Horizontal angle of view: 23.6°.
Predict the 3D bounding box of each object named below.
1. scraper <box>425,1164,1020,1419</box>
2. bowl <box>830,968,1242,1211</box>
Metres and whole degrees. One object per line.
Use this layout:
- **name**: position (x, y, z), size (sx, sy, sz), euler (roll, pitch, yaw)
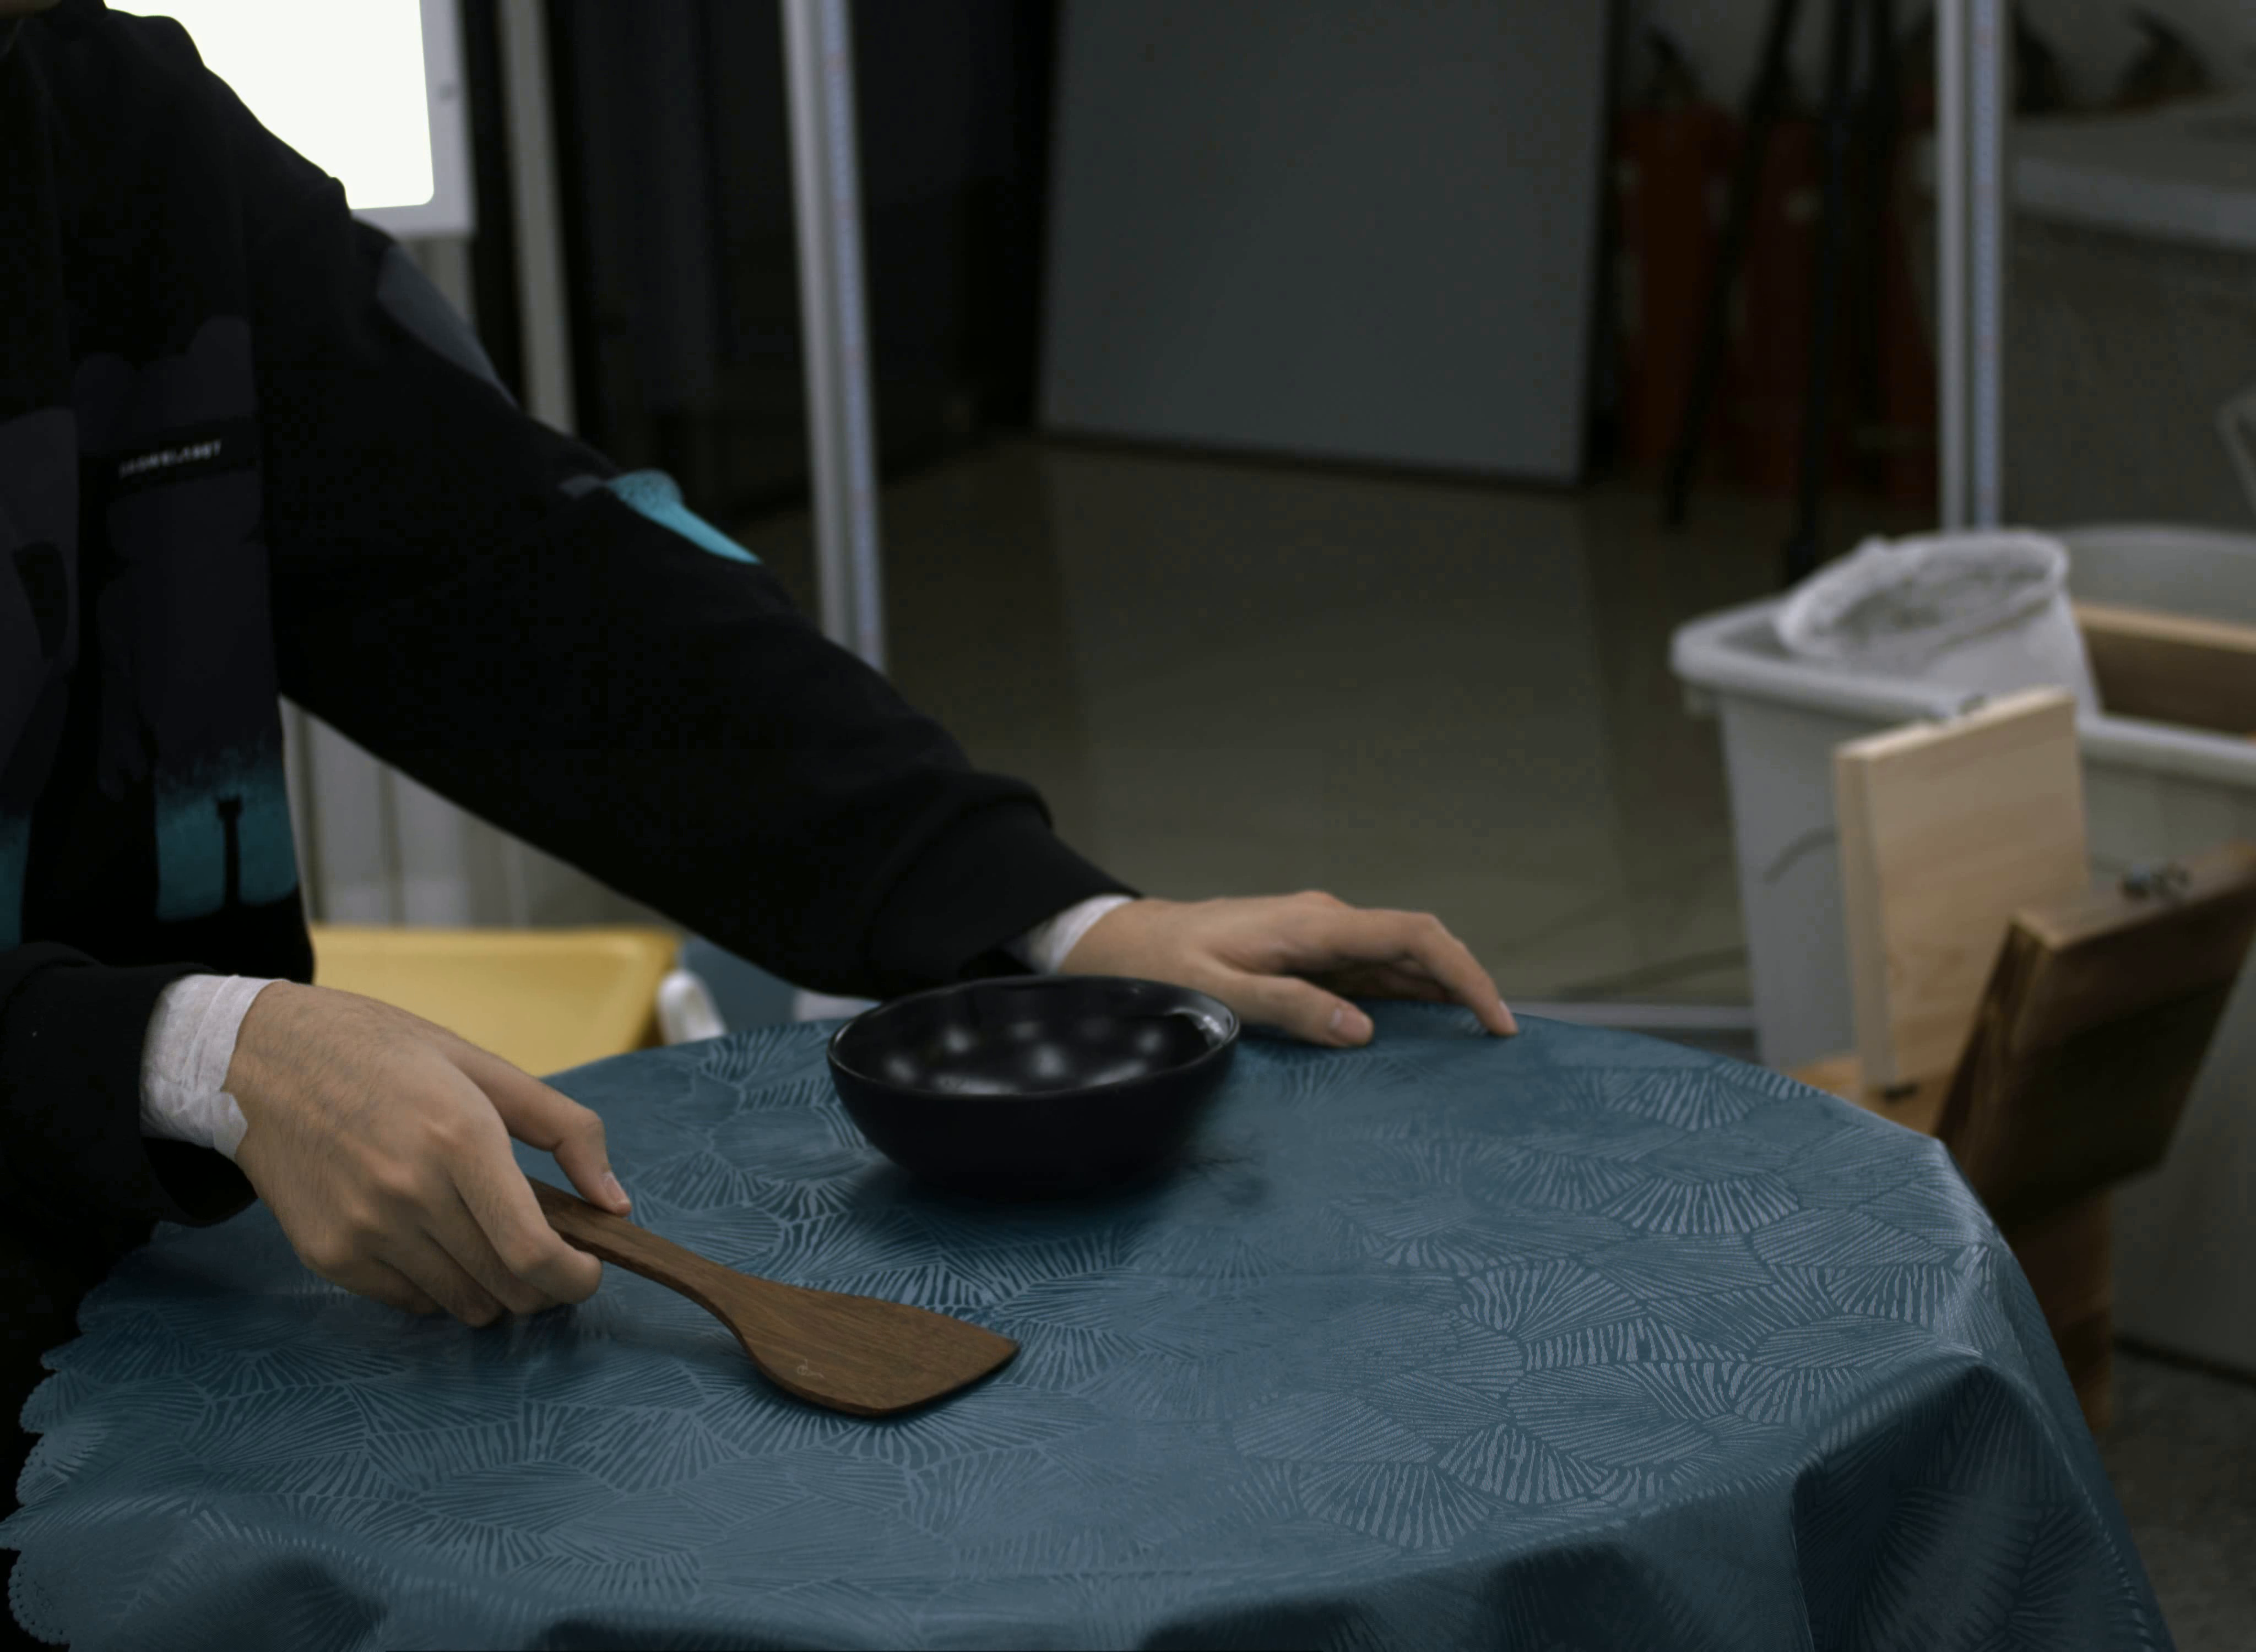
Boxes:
- **scraper**: position (-0.131, 0.140, 1.652), size (0.212, 0.011, 0.074), euler (19, 22, 32)
- **bowl**: position (-0.029, 0.092, 1.794), size (0.138, 0.050, 0.140), euler (-5, 16, 1)
